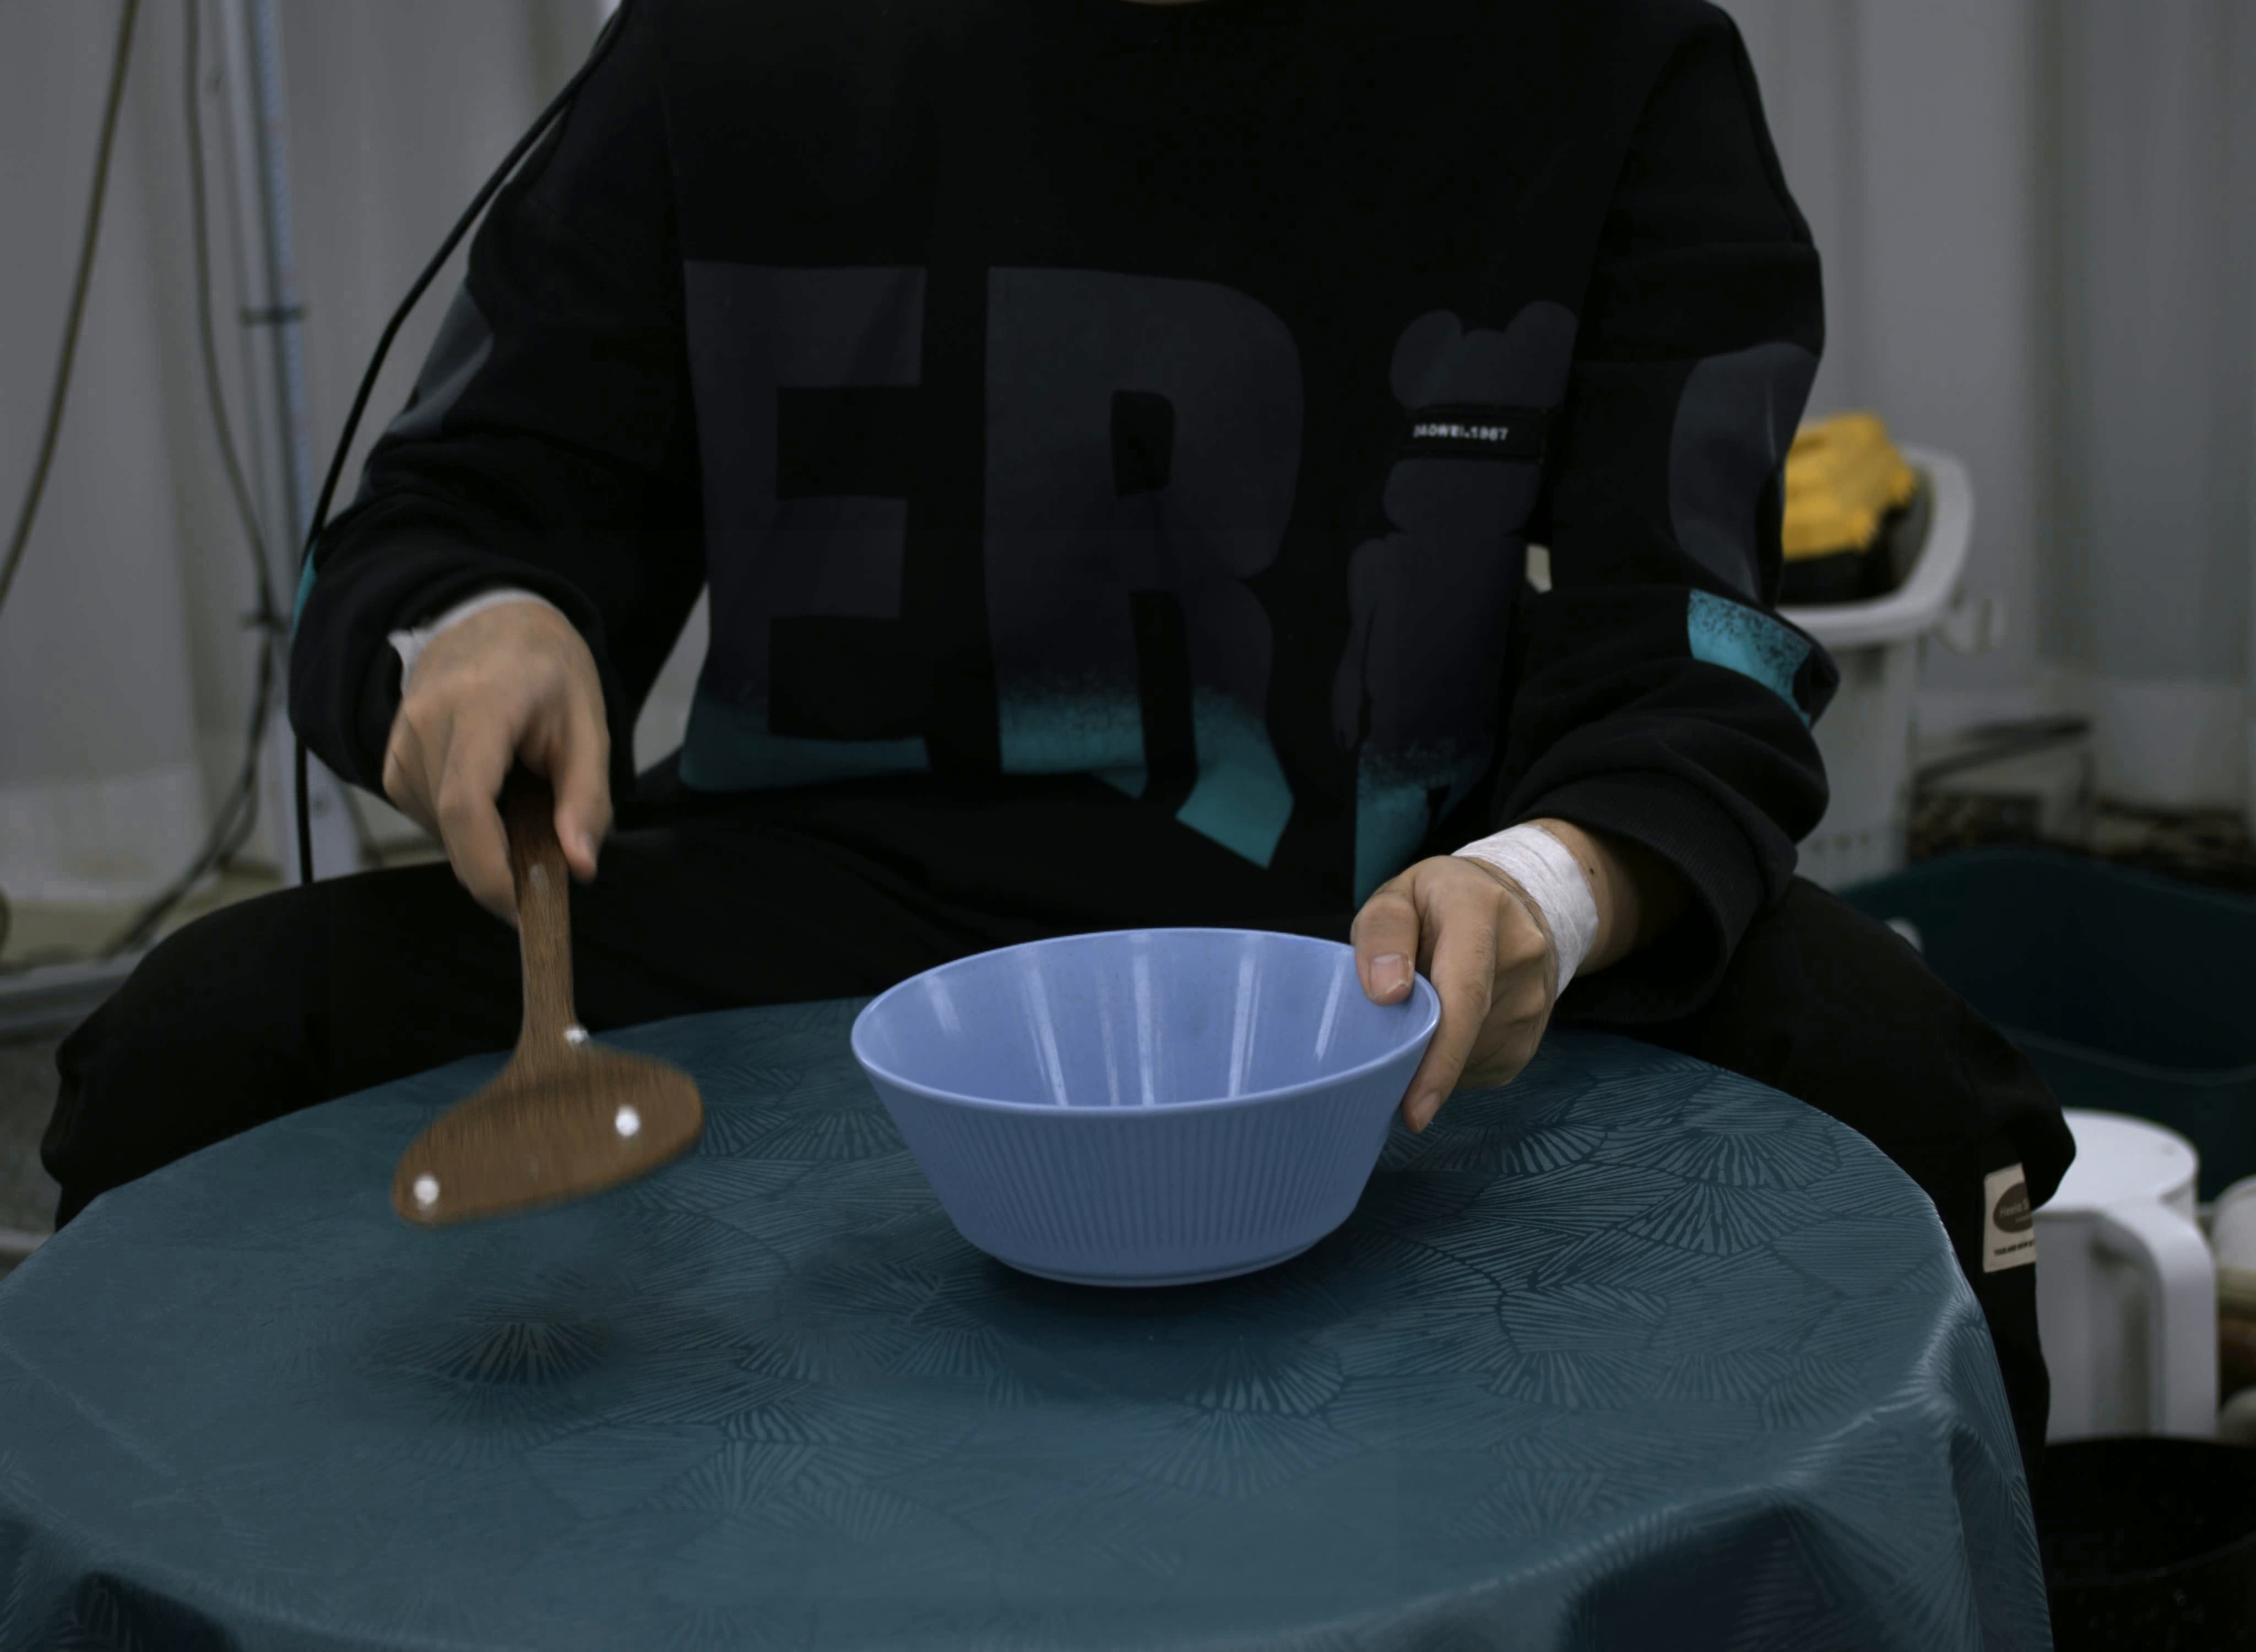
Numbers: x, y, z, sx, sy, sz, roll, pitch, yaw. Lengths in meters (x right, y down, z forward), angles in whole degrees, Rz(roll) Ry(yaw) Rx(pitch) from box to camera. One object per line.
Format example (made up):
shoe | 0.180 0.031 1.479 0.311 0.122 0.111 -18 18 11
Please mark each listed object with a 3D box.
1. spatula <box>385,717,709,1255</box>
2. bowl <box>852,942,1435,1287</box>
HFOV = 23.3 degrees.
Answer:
spatula | -0.184 0.041 1.734 0.096 0.015 0.390 -13 25 0
bowl | 0.006 0.089 1.640 0.175 0.070 0.177 -3 14 0
